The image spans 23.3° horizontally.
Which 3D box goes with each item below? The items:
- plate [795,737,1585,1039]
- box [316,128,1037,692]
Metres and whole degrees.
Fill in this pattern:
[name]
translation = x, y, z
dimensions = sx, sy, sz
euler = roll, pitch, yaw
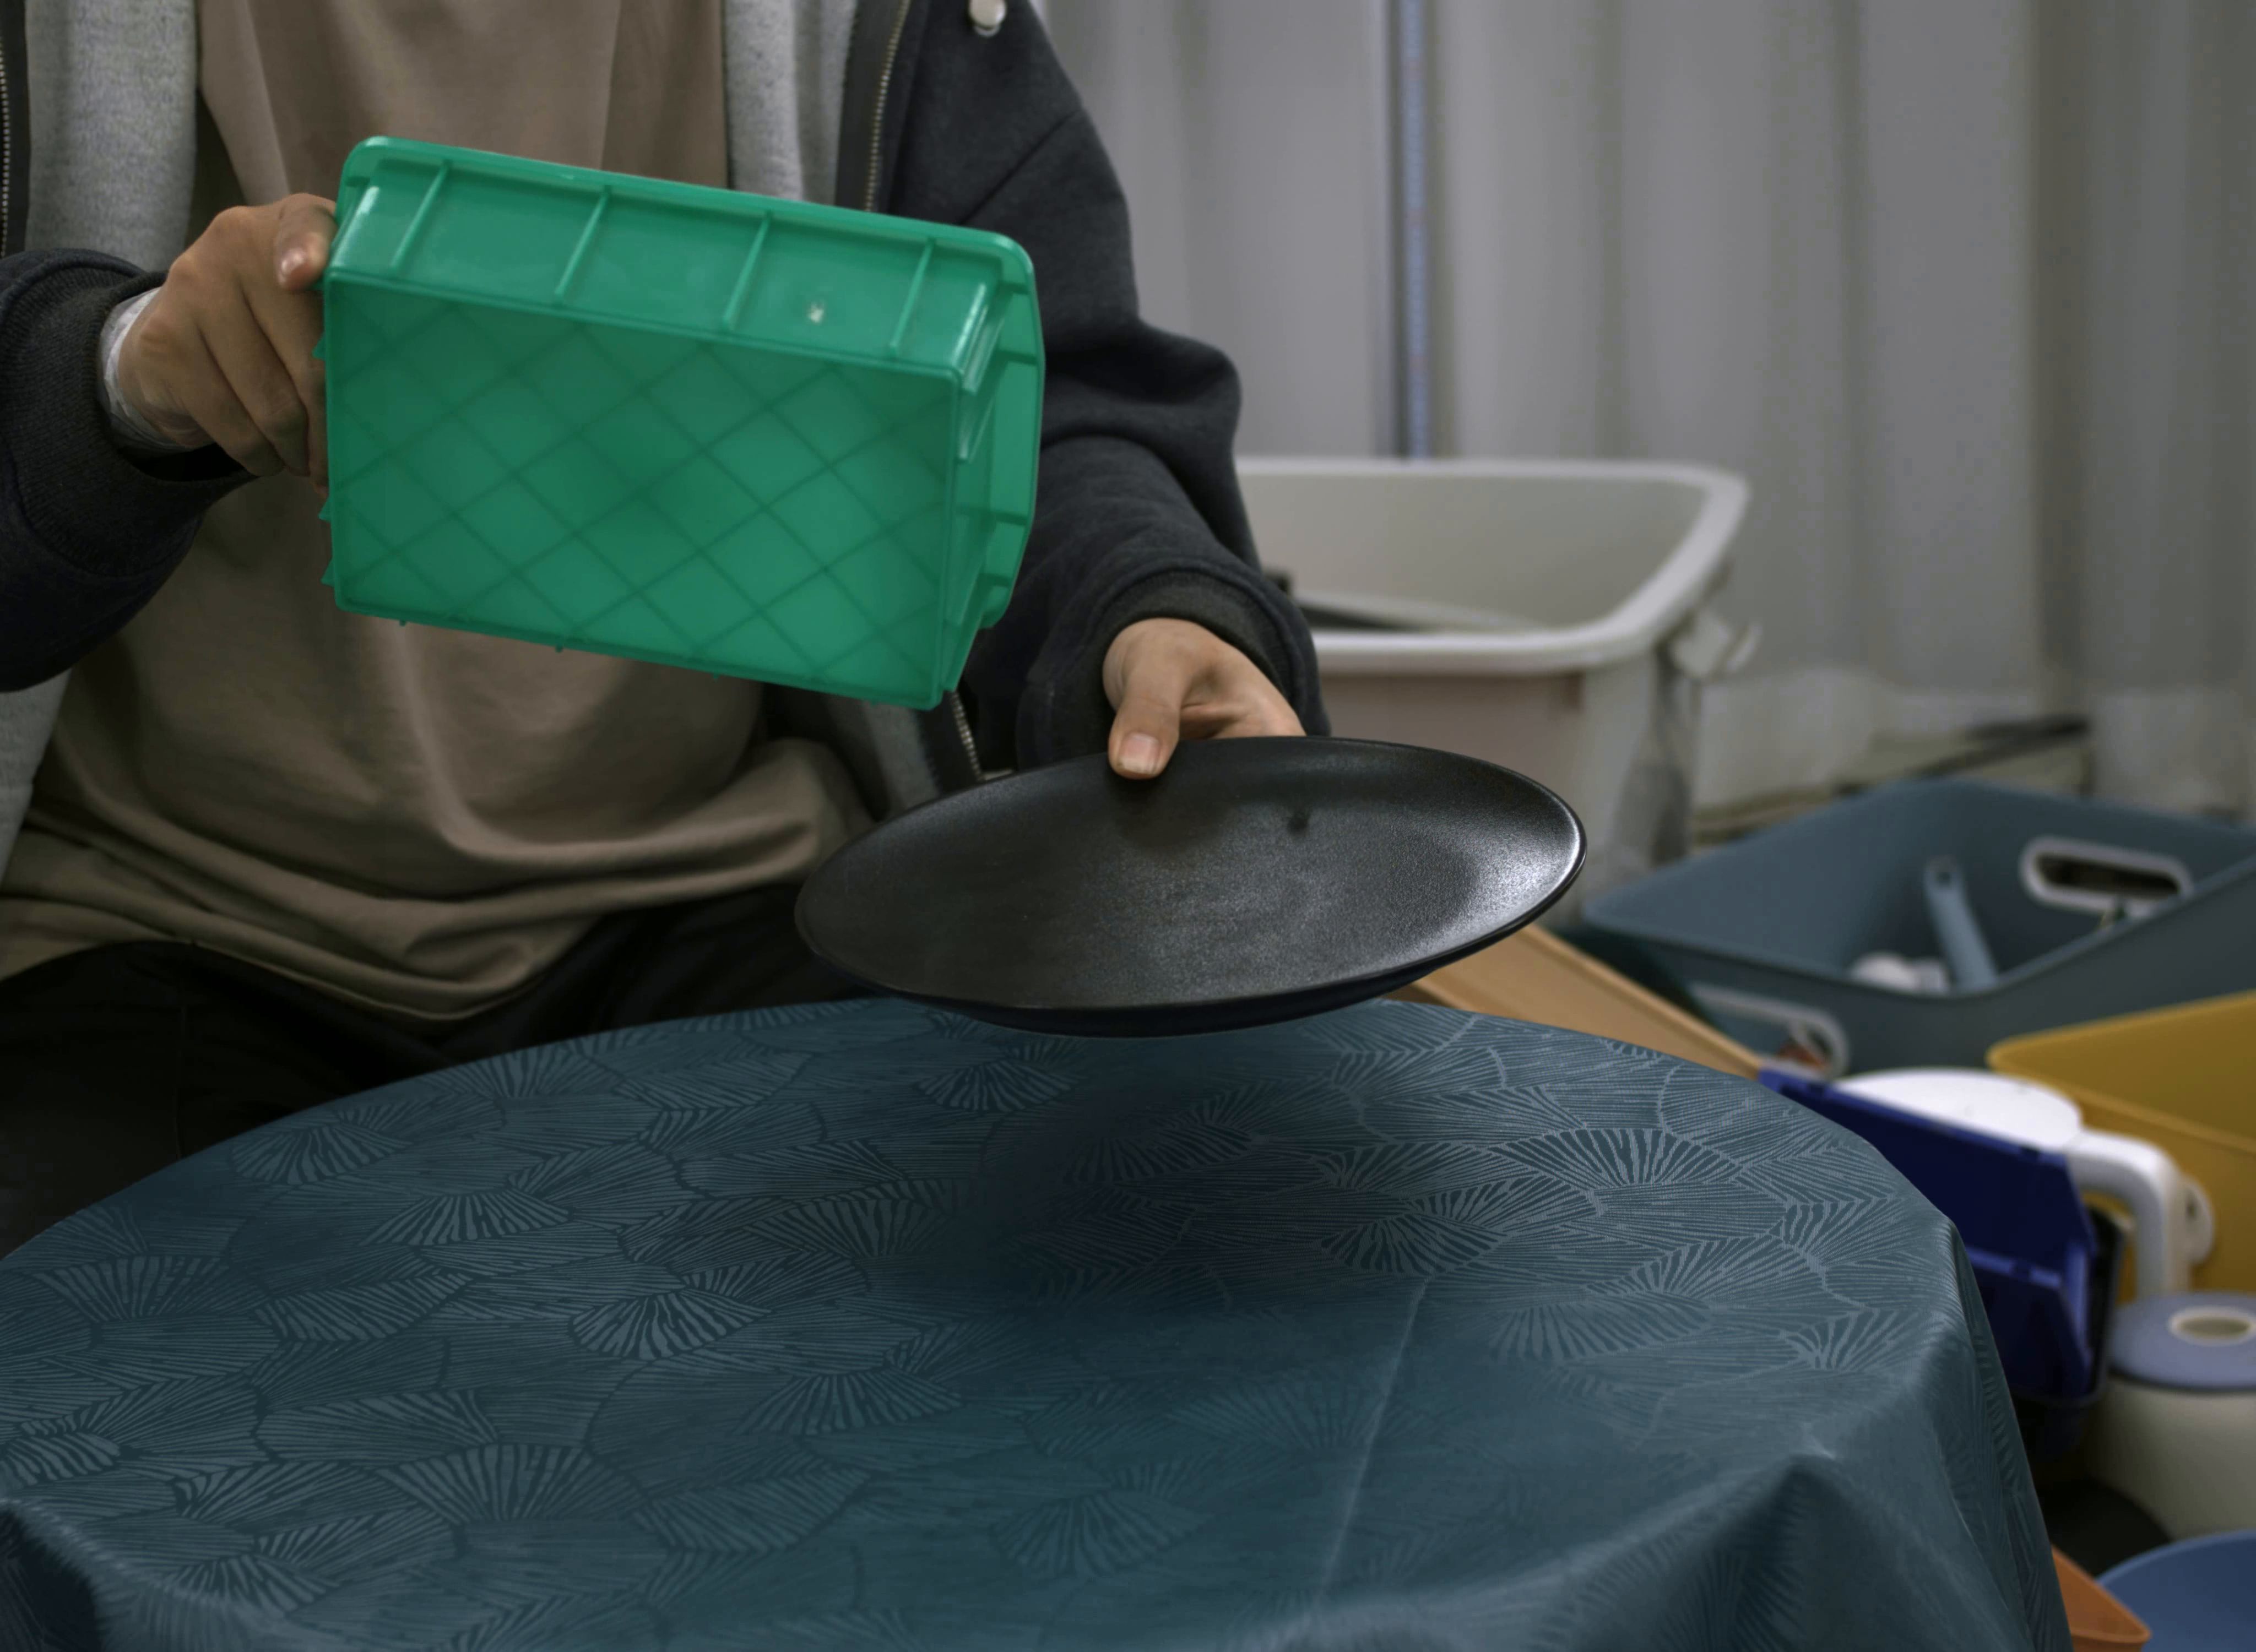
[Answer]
[plate]
translation = 0.019, 0.022, 1.680
dimensions = 0.243, 0.023, 0.246
euler = -6, 19, 2
[box]
translation = -0.135, -0.114, 1.569
dimensions = 0.210, 0.137, 0.066
euler = 8, 38, 2
